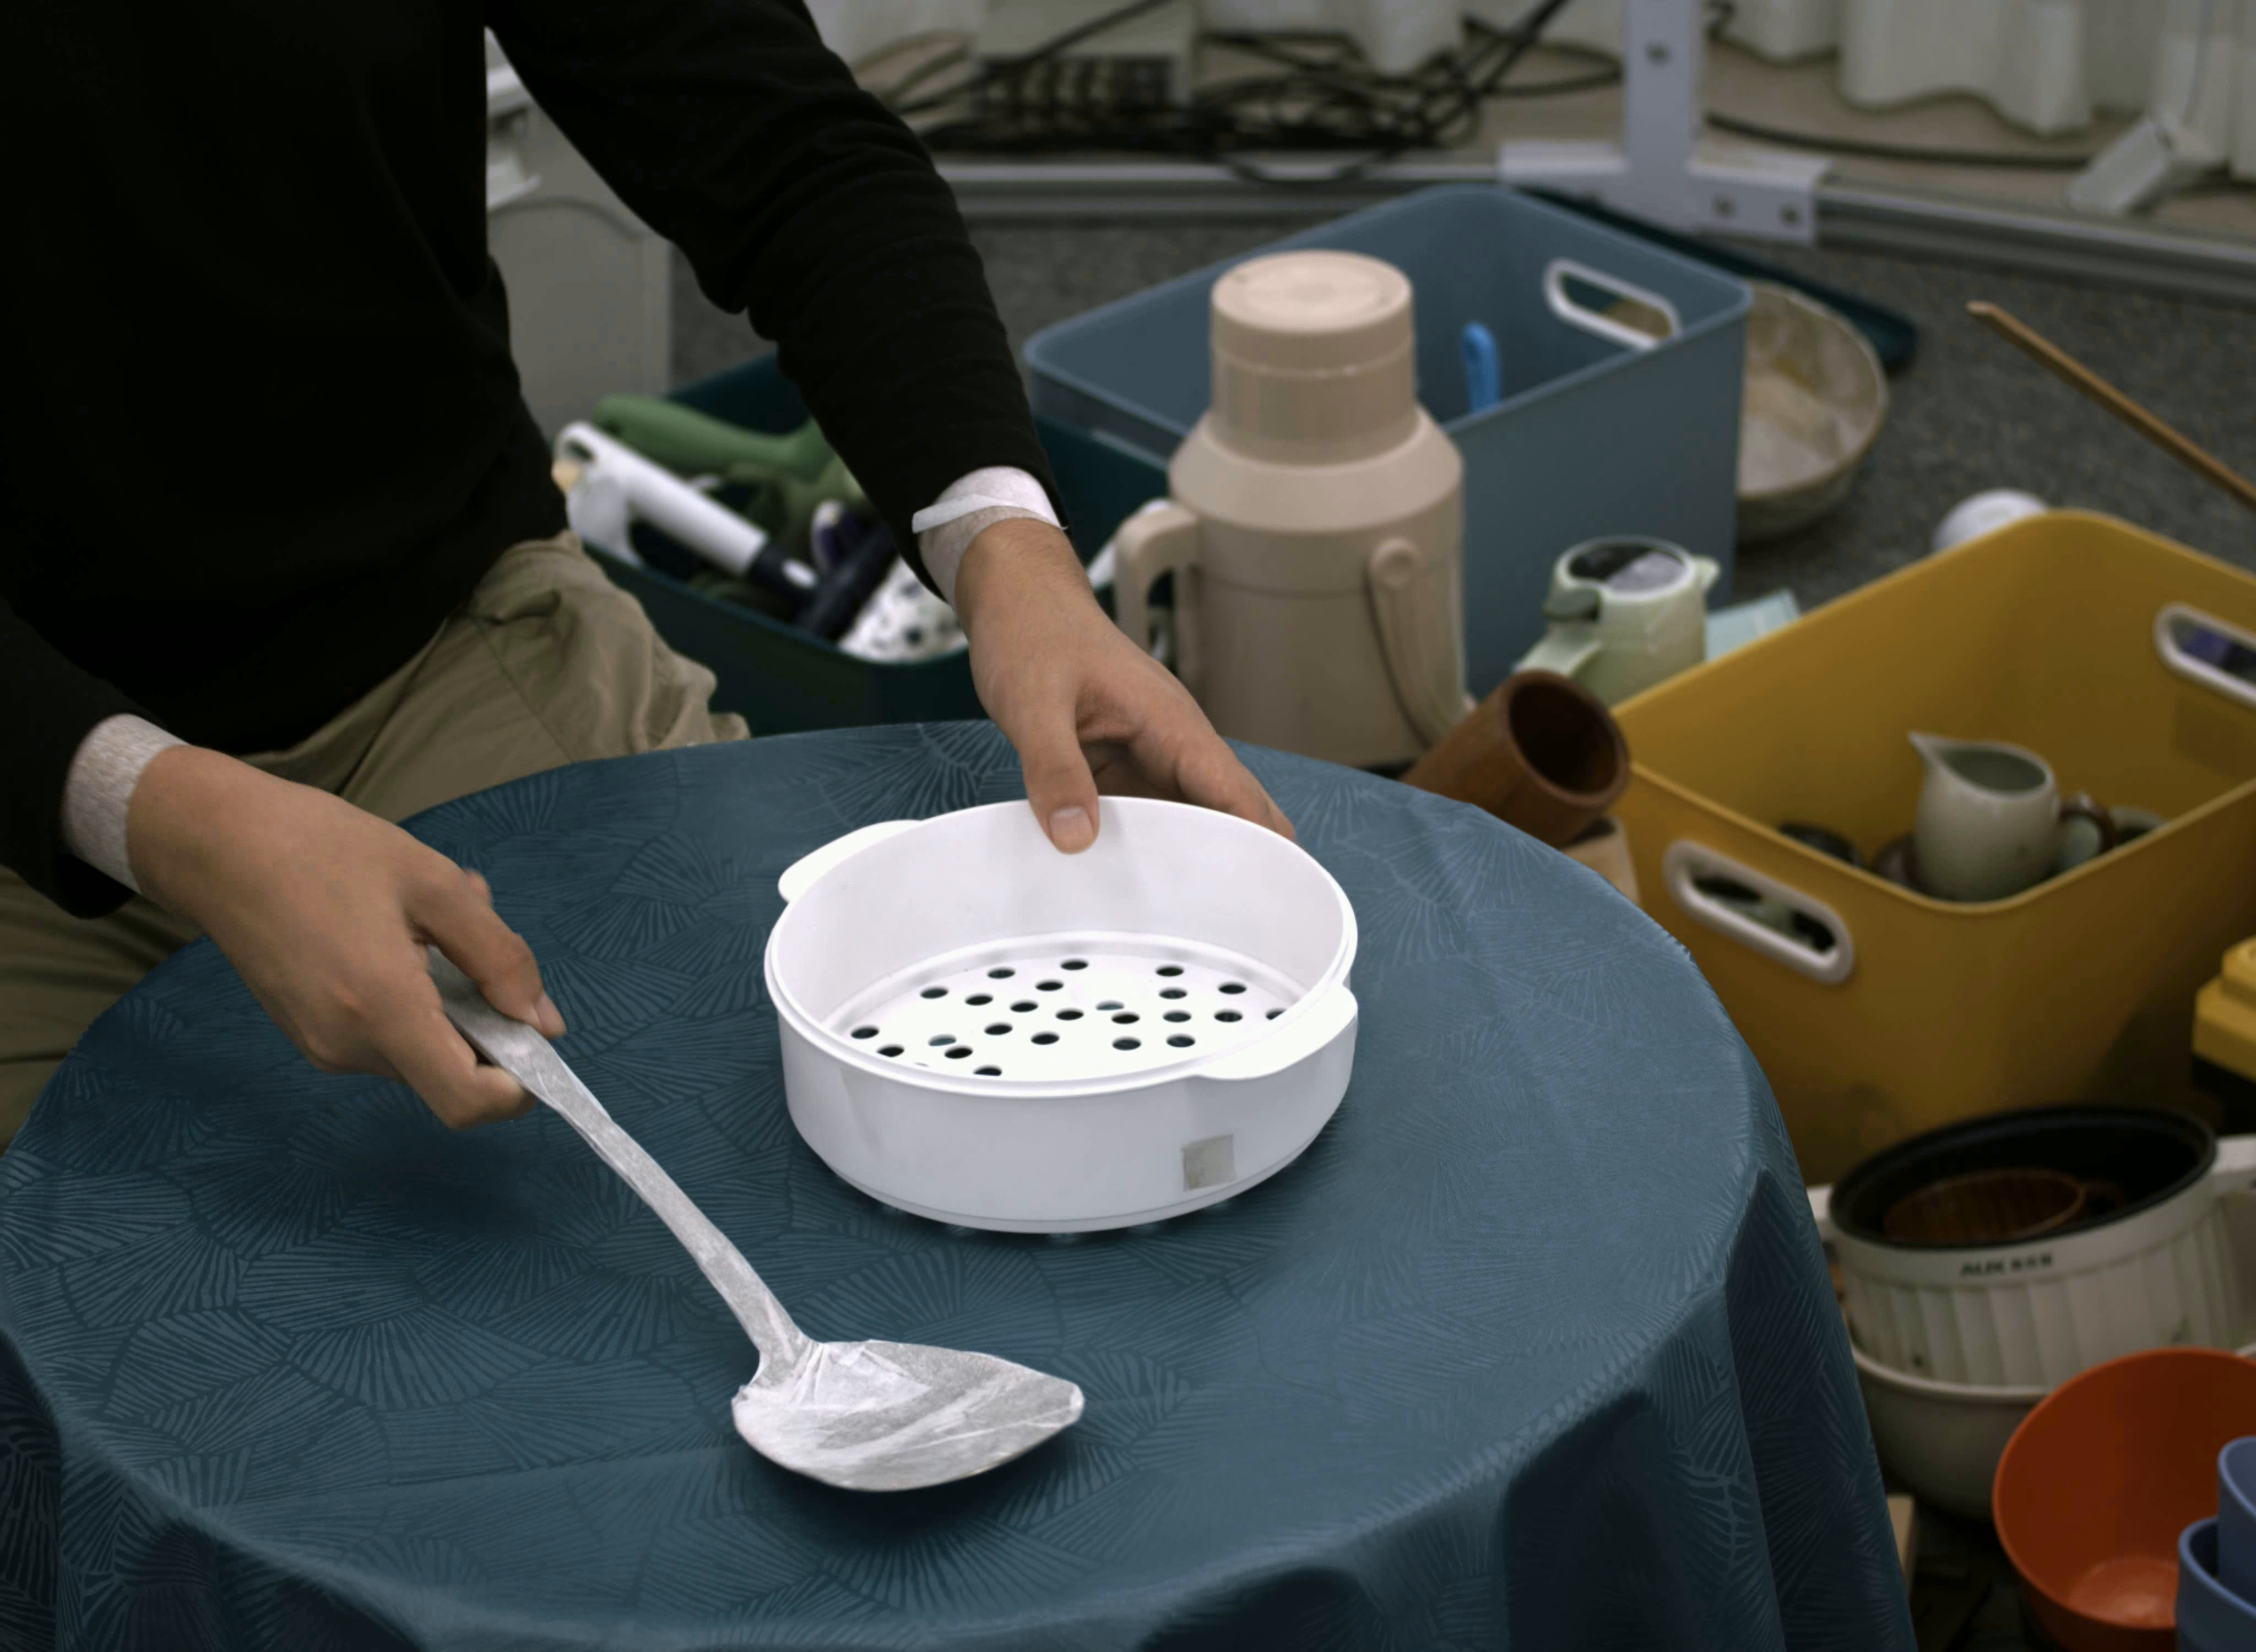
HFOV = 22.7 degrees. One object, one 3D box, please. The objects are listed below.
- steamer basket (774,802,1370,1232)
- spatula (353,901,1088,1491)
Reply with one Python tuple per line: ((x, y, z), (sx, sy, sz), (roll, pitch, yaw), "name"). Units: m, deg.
((-0.017, 0.065, 1.897), (0.230, 0.068, 0.204), (20, 35, 39), "steamer basket")
((-0.153, 0.109, 1.806), (0.099, 0.044, 0.367), (-19, 45, -34), "spatula")
